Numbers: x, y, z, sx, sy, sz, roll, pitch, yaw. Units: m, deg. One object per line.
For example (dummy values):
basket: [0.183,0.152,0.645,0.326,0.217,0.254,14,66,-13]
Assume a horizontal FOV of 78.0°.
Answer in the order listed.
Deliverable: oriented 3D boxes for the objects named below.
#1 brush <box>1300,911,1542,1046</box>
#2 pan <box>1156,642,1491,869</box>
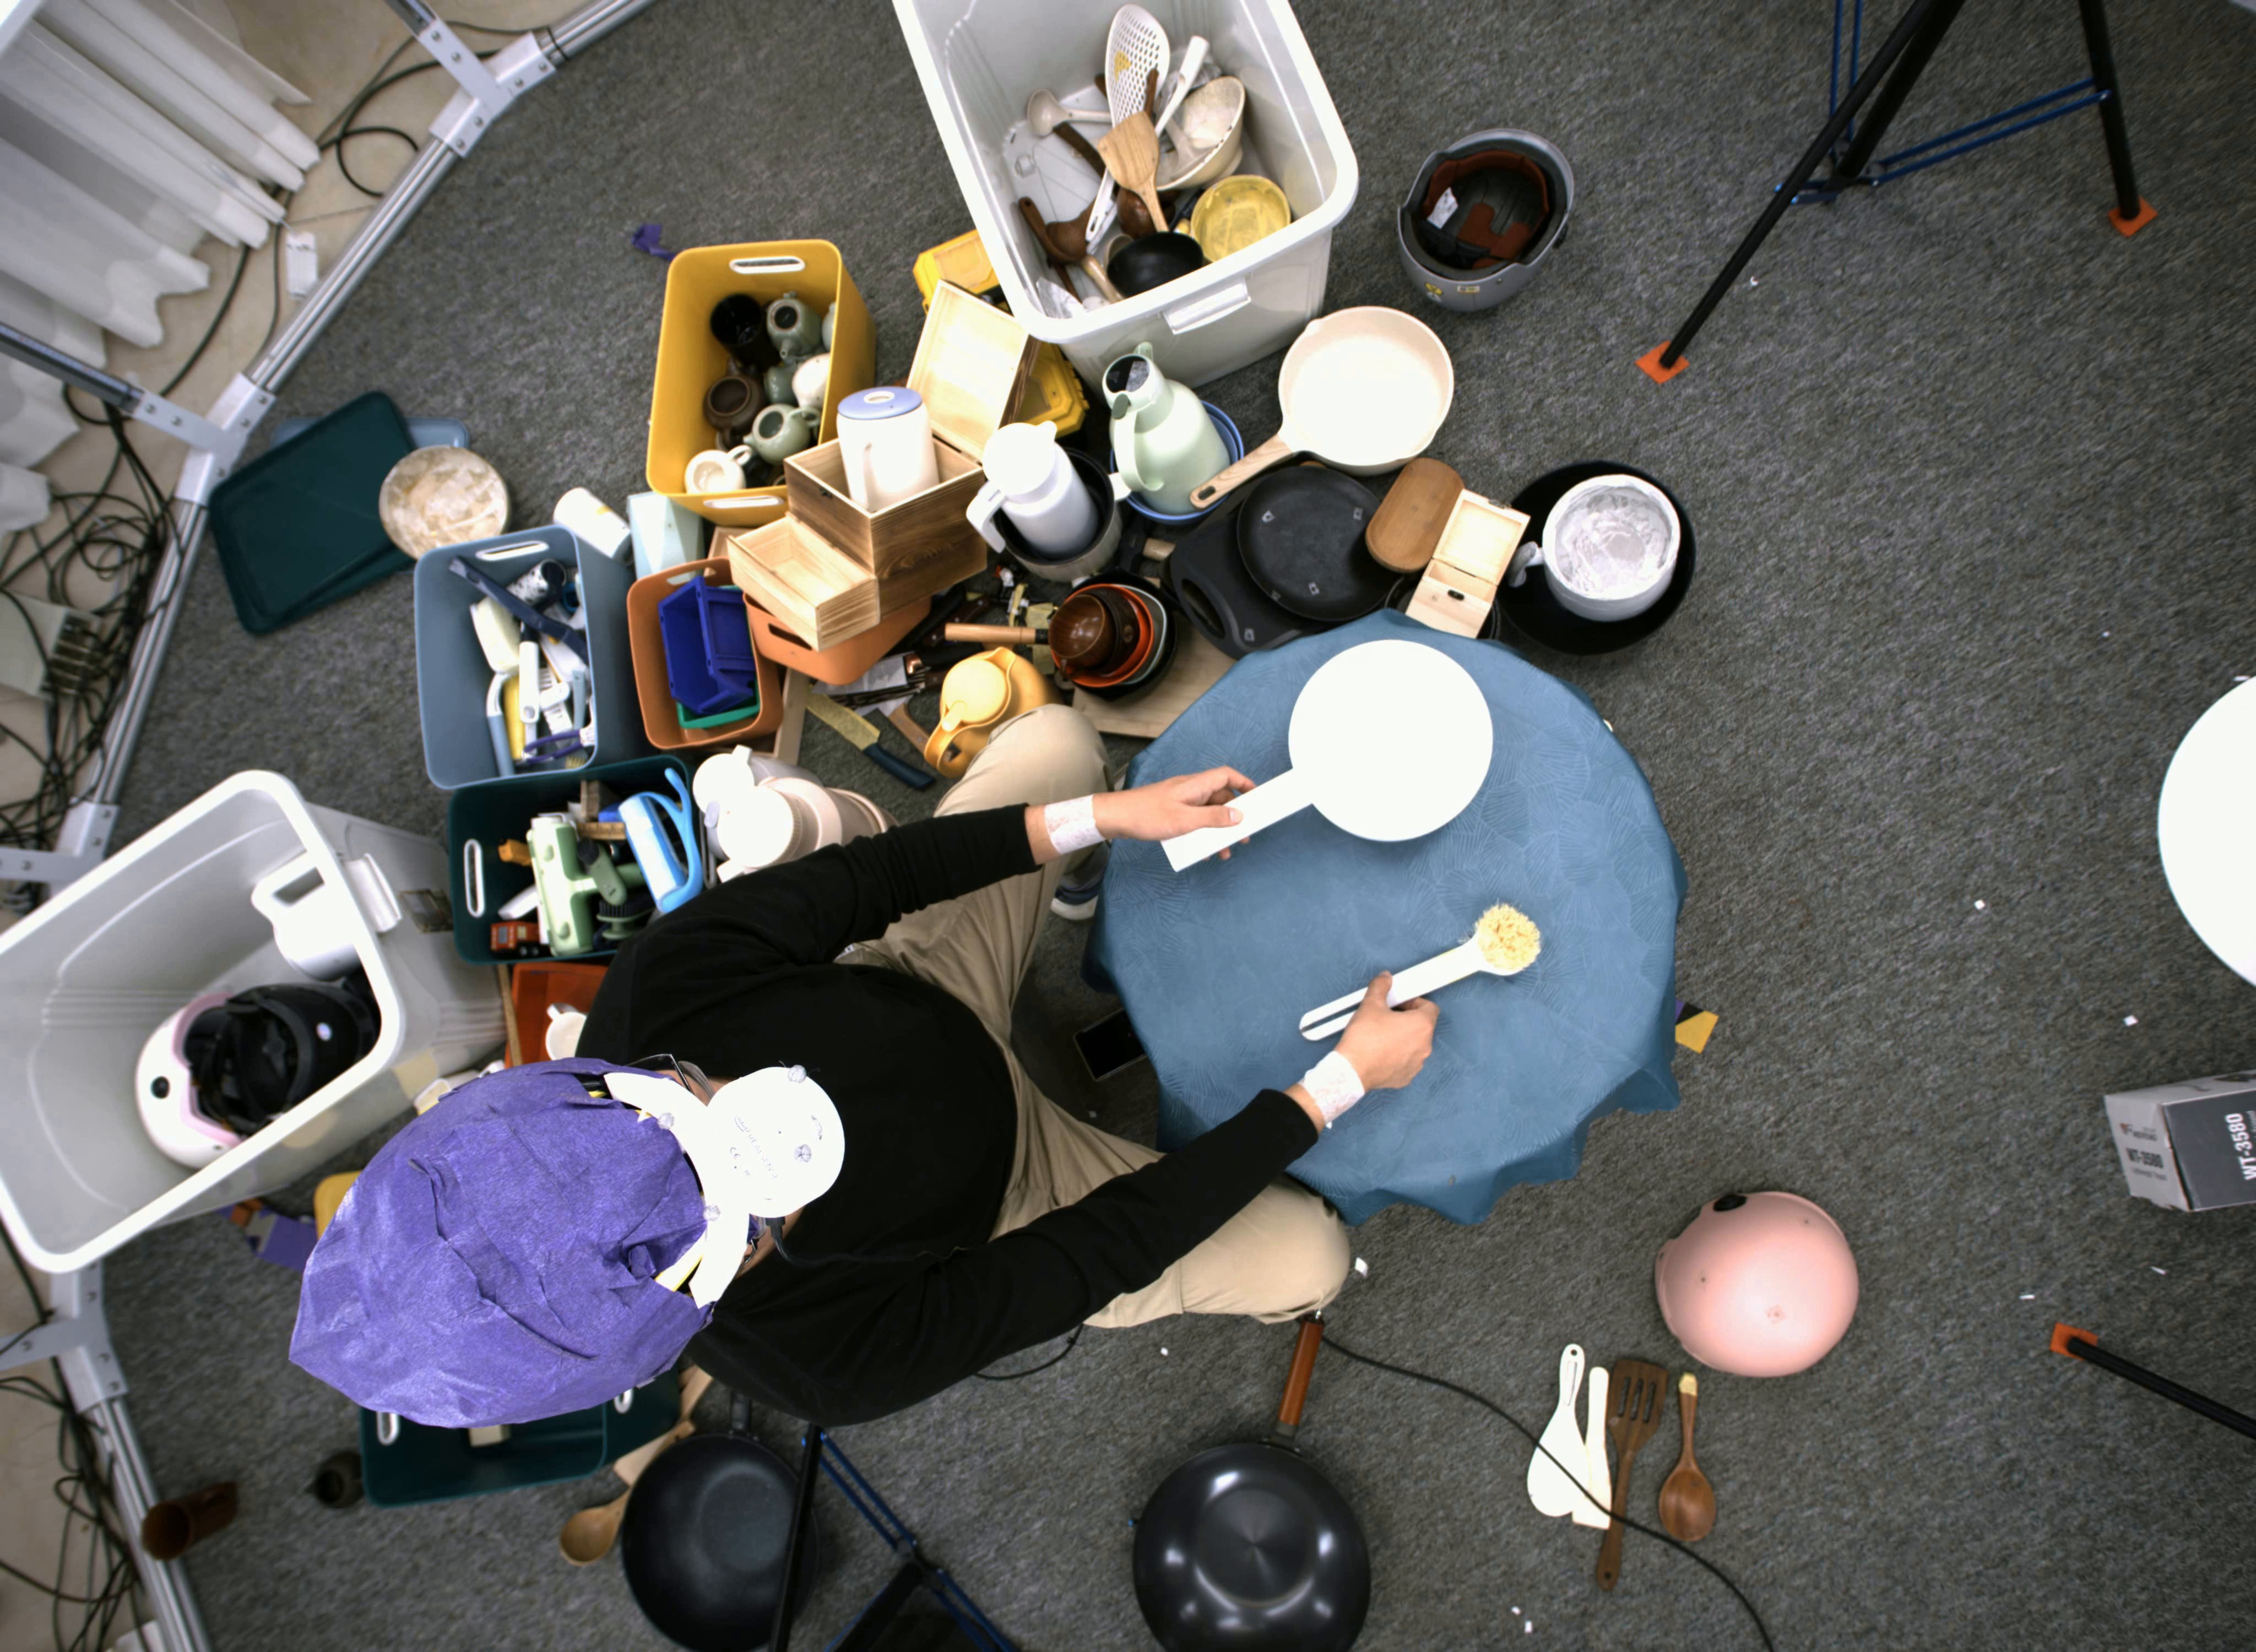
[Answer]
brush: [0.297,0.163,1.421,0.268,0.057,0.067,-23,64,10]
pan: [0.200,-0.048,1.431,0.357,0.102,0.200,-27,83,9]
